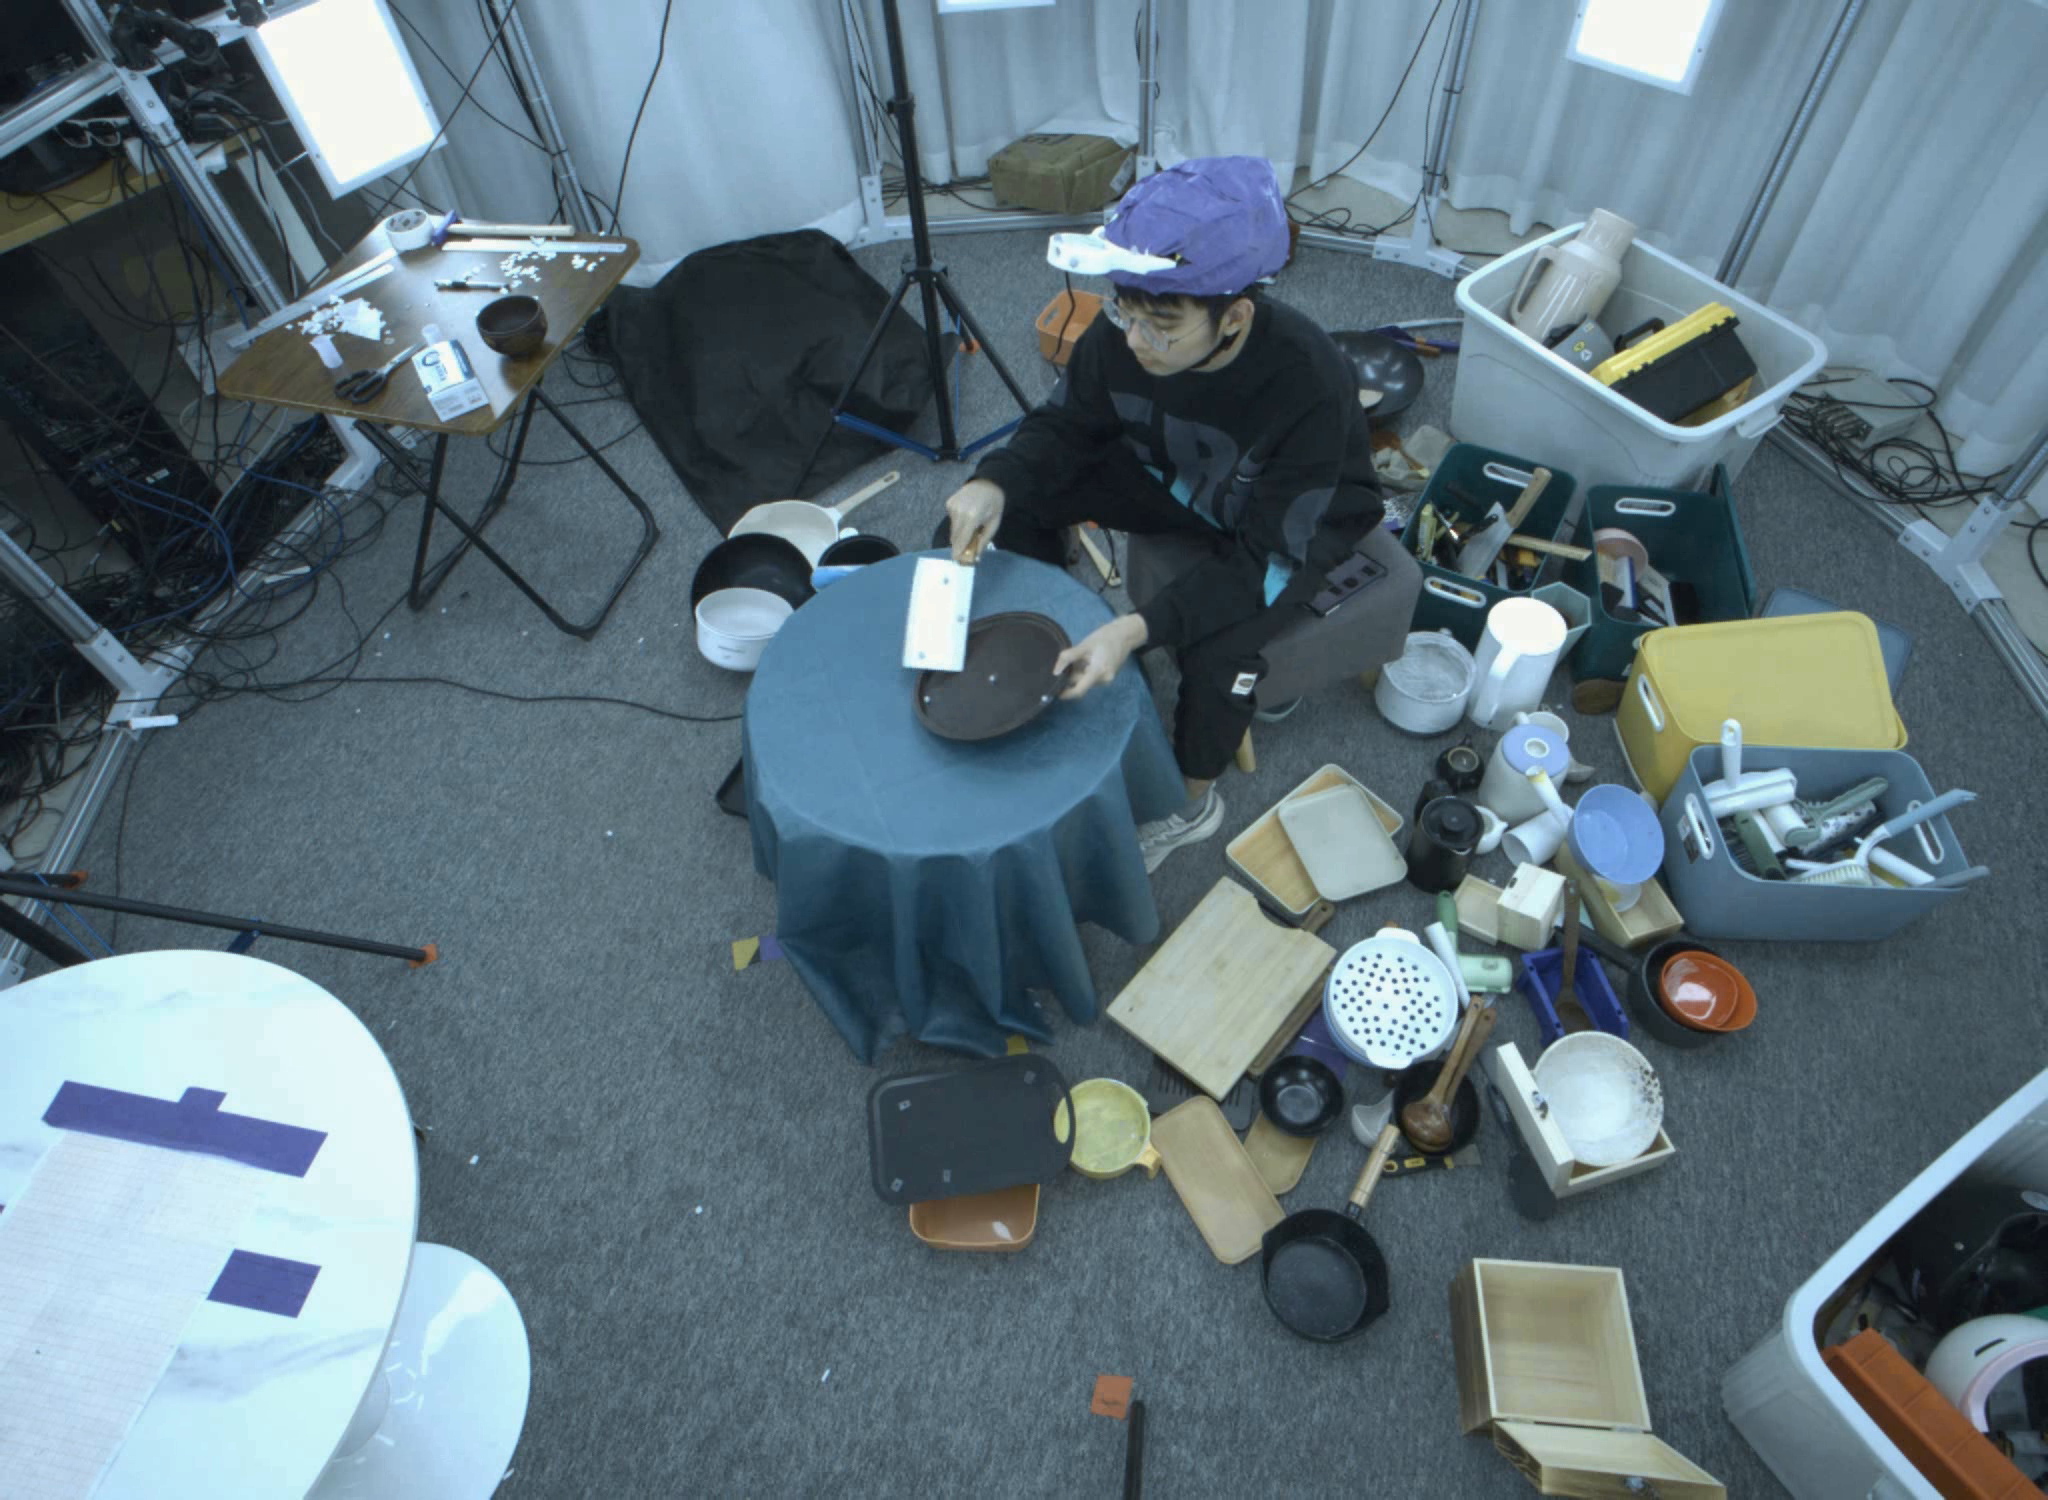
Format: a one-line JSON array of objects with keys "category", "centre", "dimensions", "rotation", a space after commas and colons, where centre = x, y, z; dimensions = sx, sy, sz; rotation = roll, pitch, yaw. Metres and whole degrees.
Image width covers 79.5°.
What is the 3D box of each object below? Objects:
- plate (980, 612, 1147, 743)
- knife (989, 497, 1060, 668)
[{"category": "plate", "centre": [0.059, -0.107, 1.806], "dimensions": [0.253, 0.029, 0.252], "rotation": [-10, 49, 14]}, {"category": "knife", "centre": [-0.001, -0.264, 1.893], "dimensions": [0.092, 0.021, 0.304], "rotation": [6, 69, 5]}]
